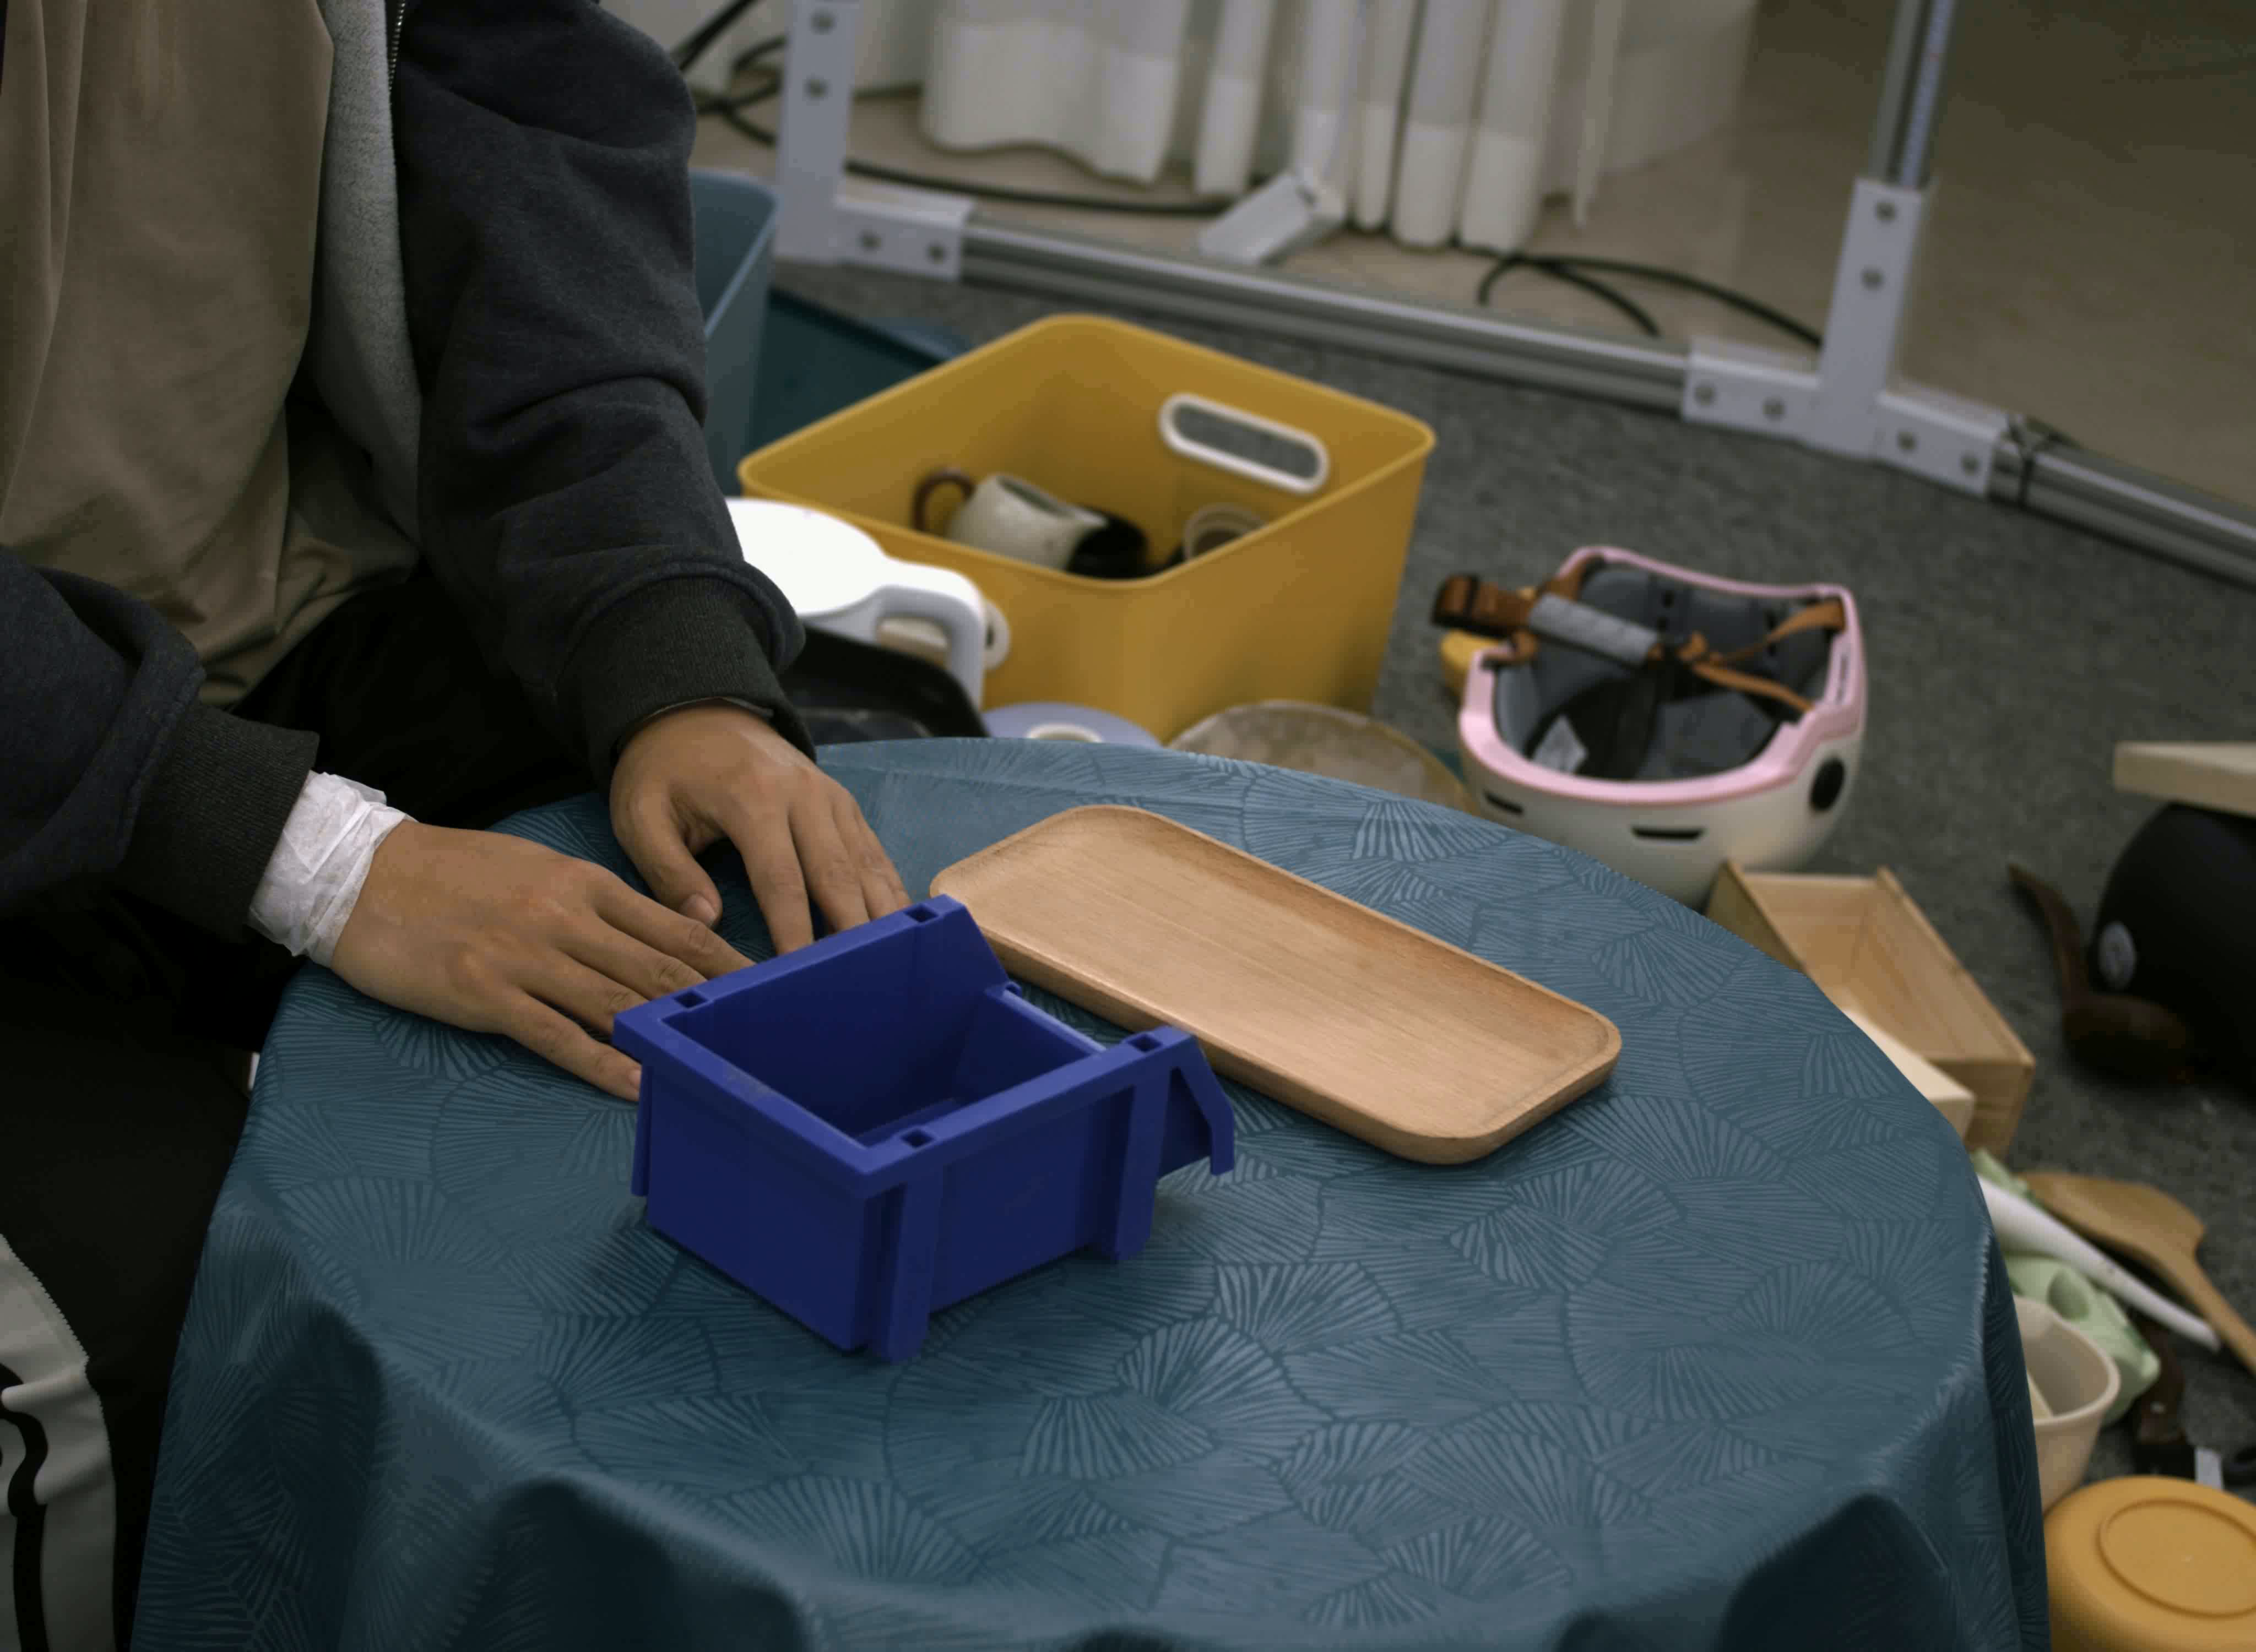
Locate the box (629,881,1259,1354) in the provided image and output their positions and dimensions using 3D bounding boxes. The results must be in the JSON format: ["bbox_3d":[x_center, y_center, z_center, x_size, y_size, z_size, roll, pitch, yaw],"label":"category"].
[{"bbox_3d":[-0.061,0.091,1.761,0.178,0.081,0.125,-22,38,-38],"label":"box"}]

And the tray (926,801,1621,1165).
[{"bbox_3d":[0.050,0.055,1.928,0.252,0.023,0.130,24,29,32],"label":"tray"}]
